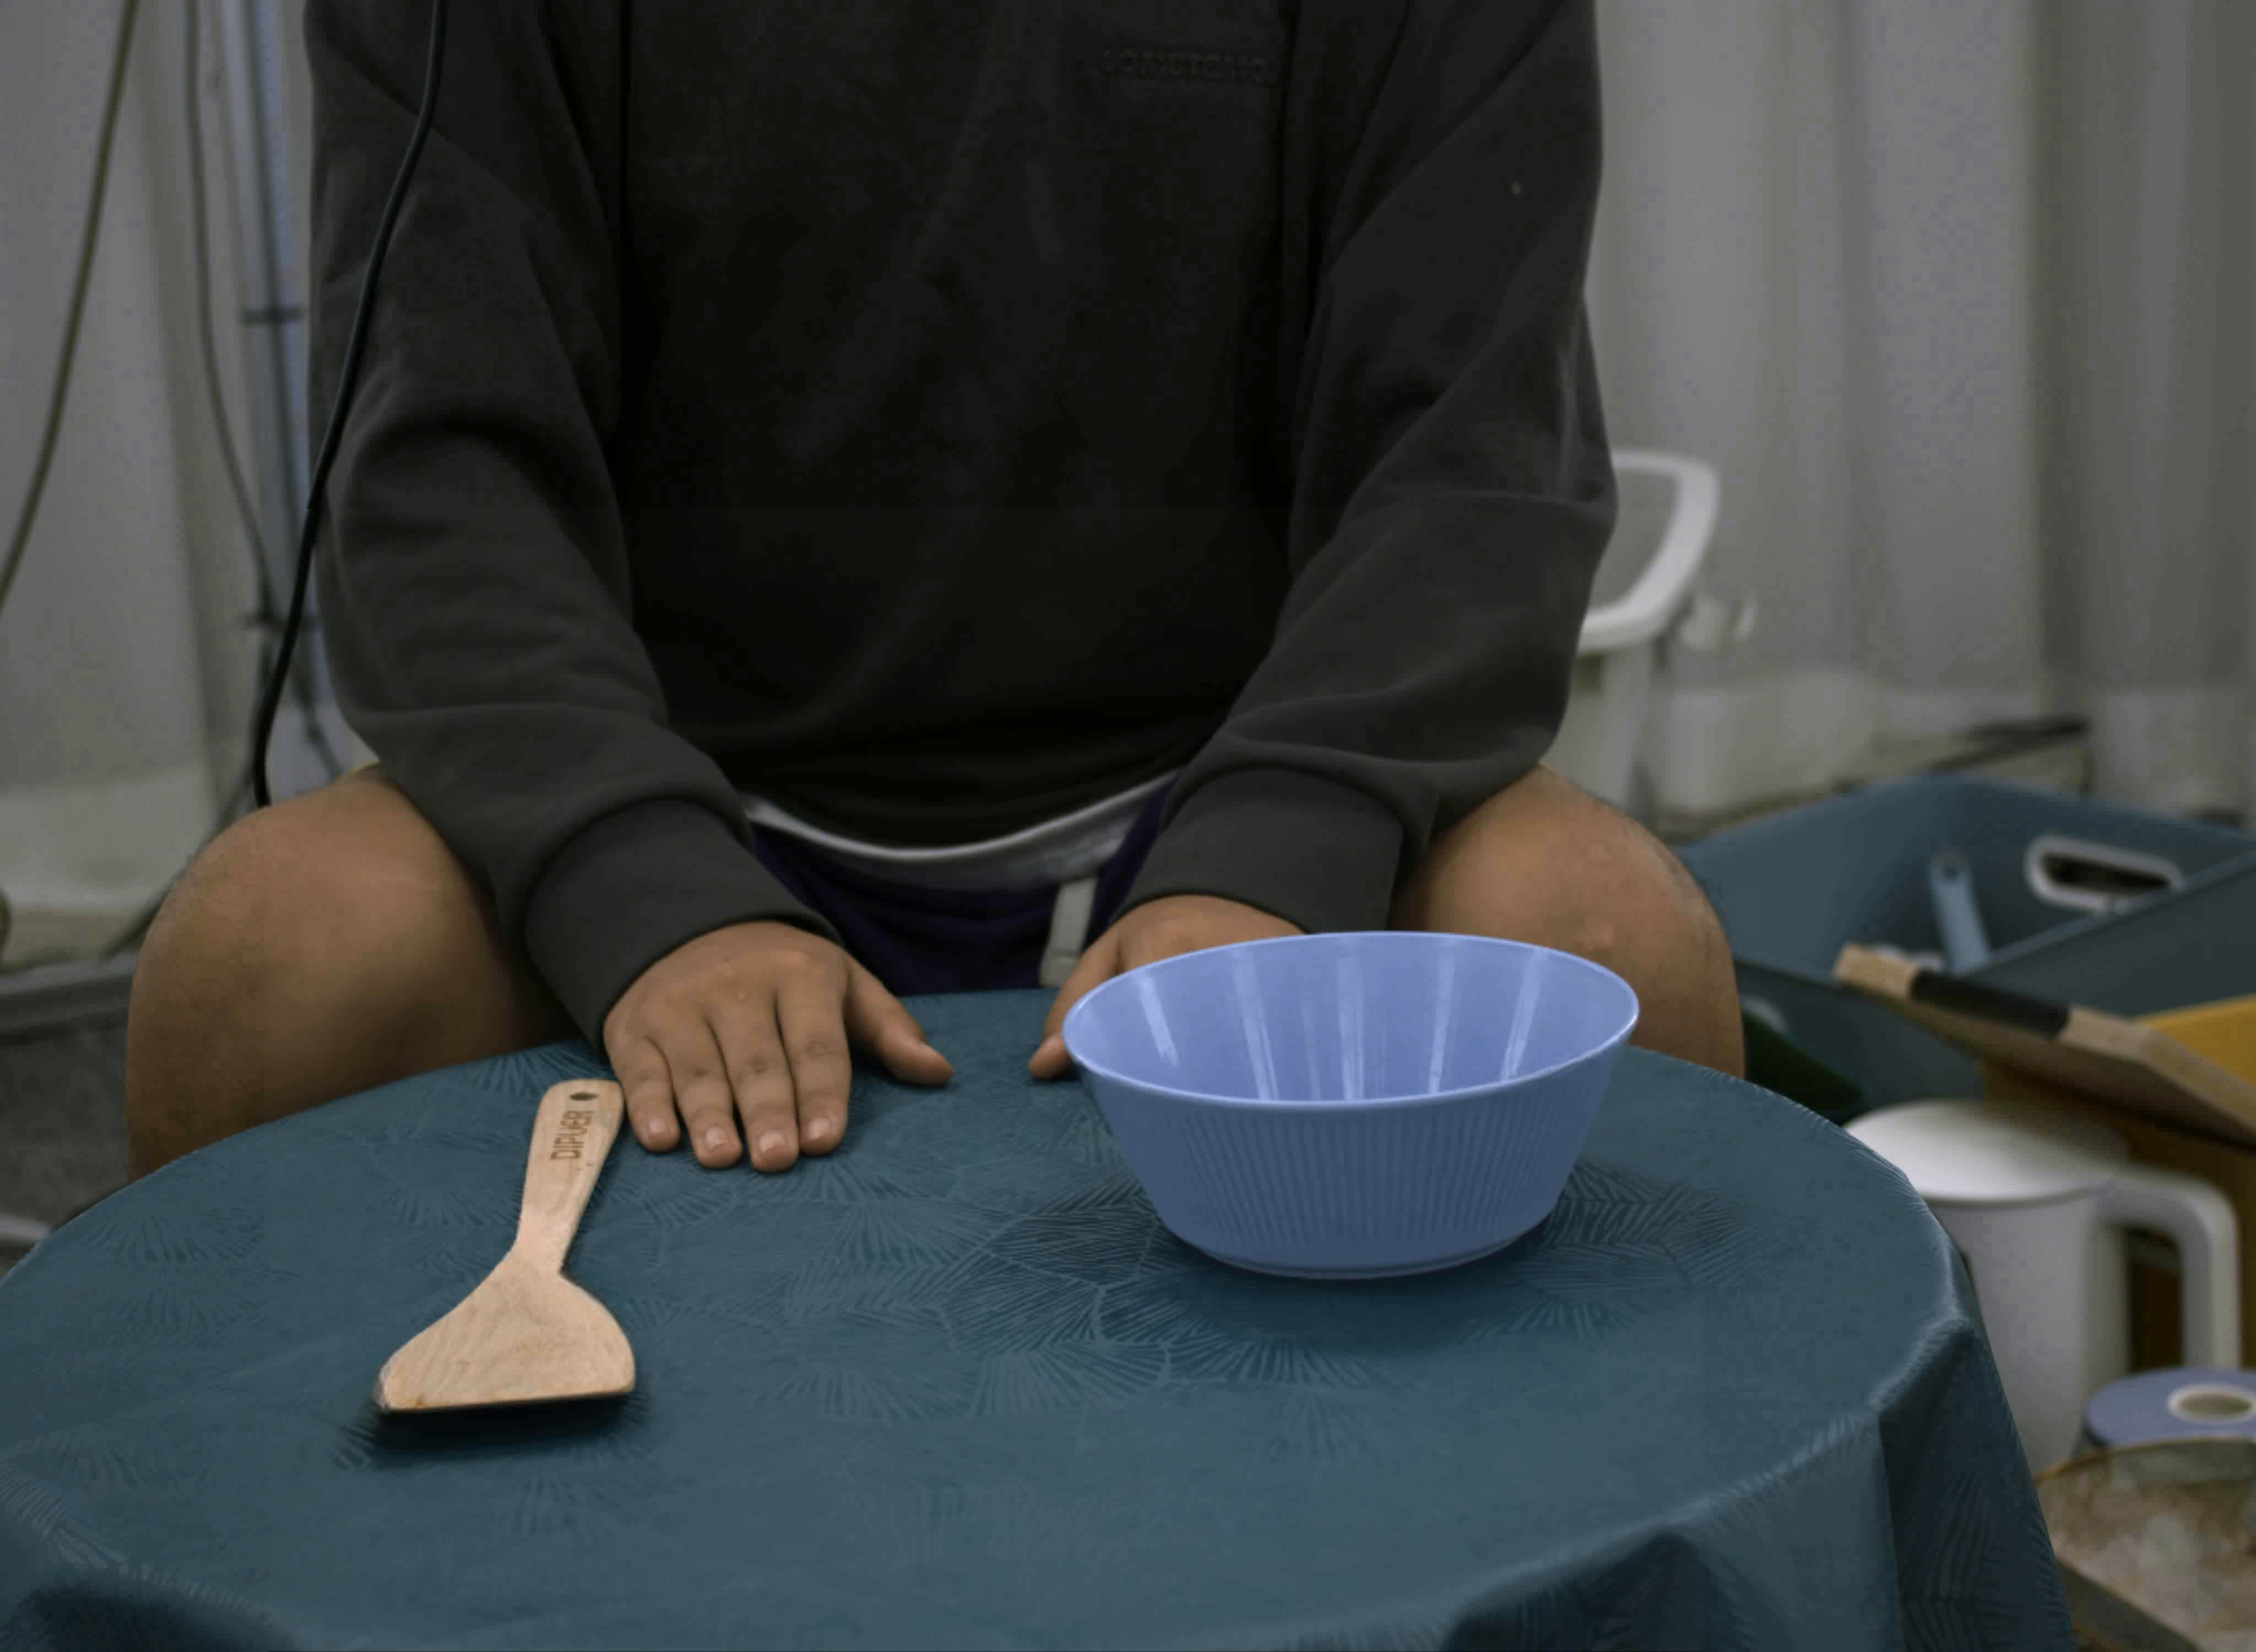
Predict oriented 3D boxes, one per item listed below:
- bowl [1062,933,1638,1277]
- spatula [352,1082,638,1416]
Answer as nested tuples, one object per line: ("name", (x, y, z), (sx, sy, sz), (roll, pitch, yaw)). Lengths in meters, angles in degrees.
("bowl", (0.069, 0.087, 1.670), (0.175, 0.070, 0.177), (-3, 15, 0))
("spatula", (-0.179, 0.126, 1.677), (0.079, 0.016, 0.330), (-3, 15, 1))
